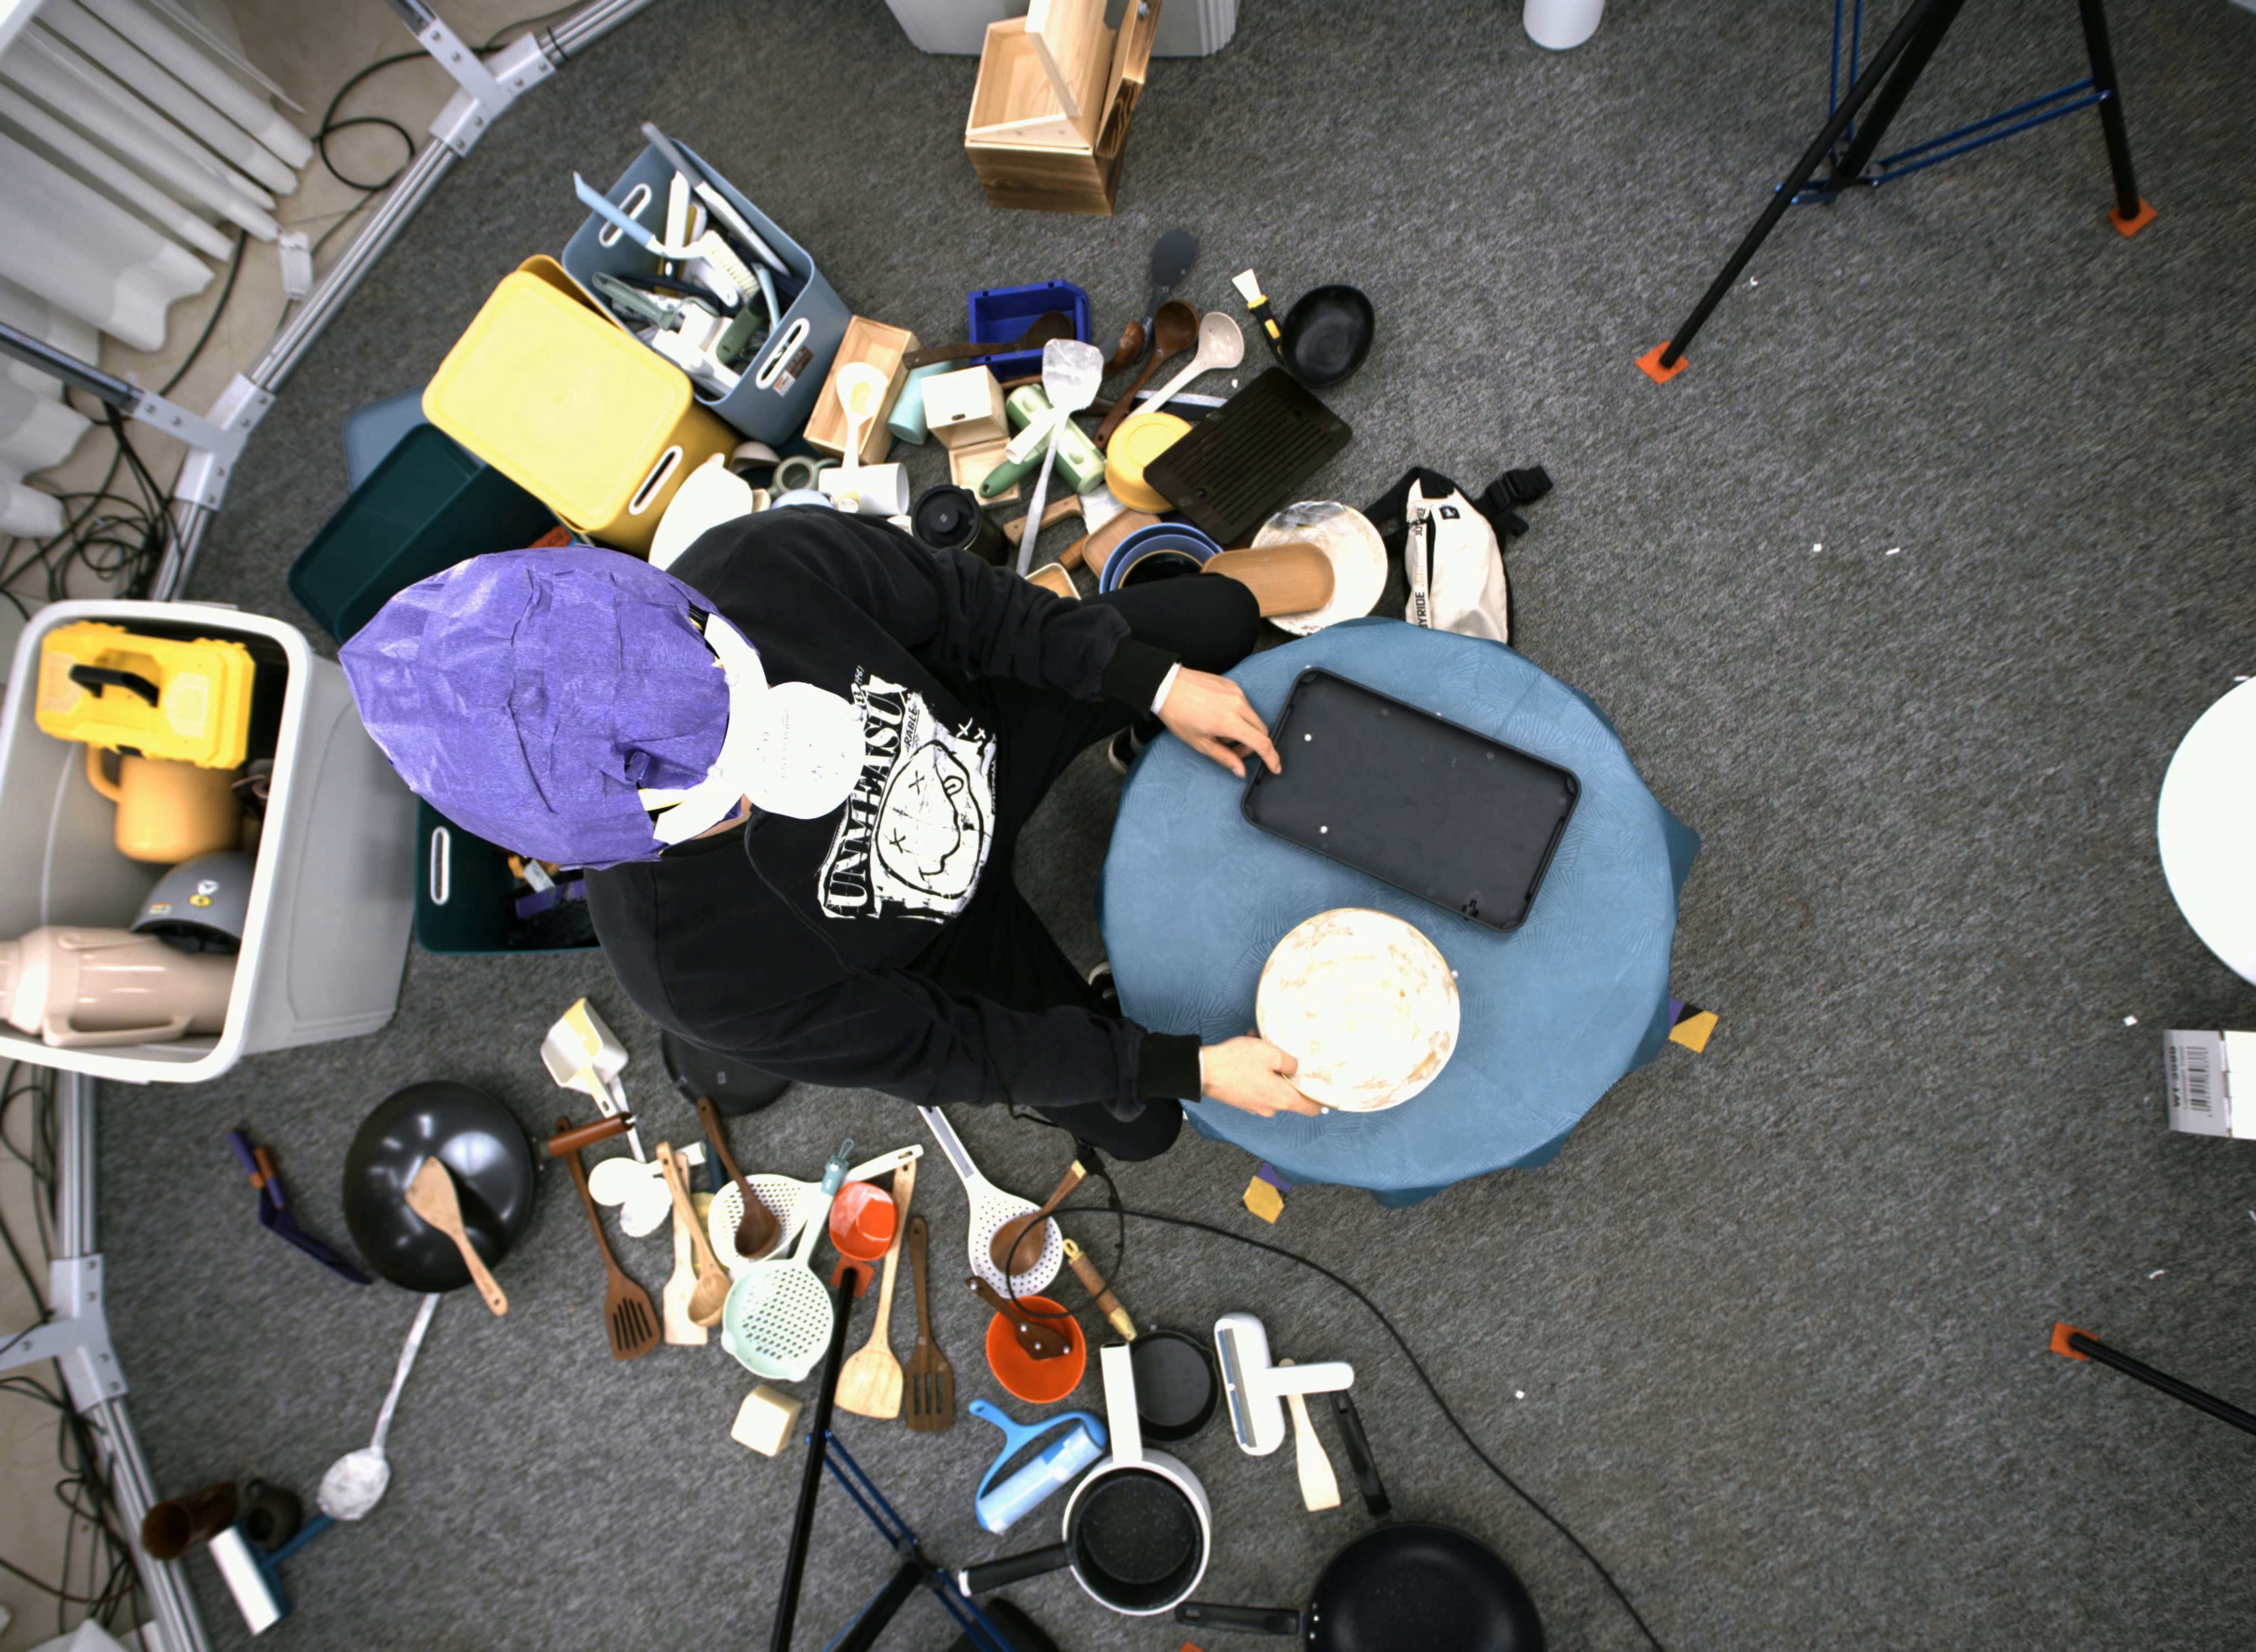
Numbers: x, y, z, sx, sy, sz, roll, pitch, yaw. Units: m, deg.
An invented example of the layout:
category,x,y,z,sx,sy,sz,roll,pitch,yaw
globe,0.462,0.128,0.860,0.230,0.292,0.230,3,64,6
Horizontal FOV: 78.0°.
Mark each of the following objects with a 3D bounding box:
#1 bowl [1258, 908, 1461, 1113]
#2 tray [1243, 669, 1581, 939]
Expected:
category,x,y,z,sx,sy,sz,roll,pitch,yaw
bowl,0.236,0.185,1.416,0.215,0.095,0.213,-2,83,12
tray,0.296,-0.025,1.451,0.318,0.037,0.184,26,90,9
